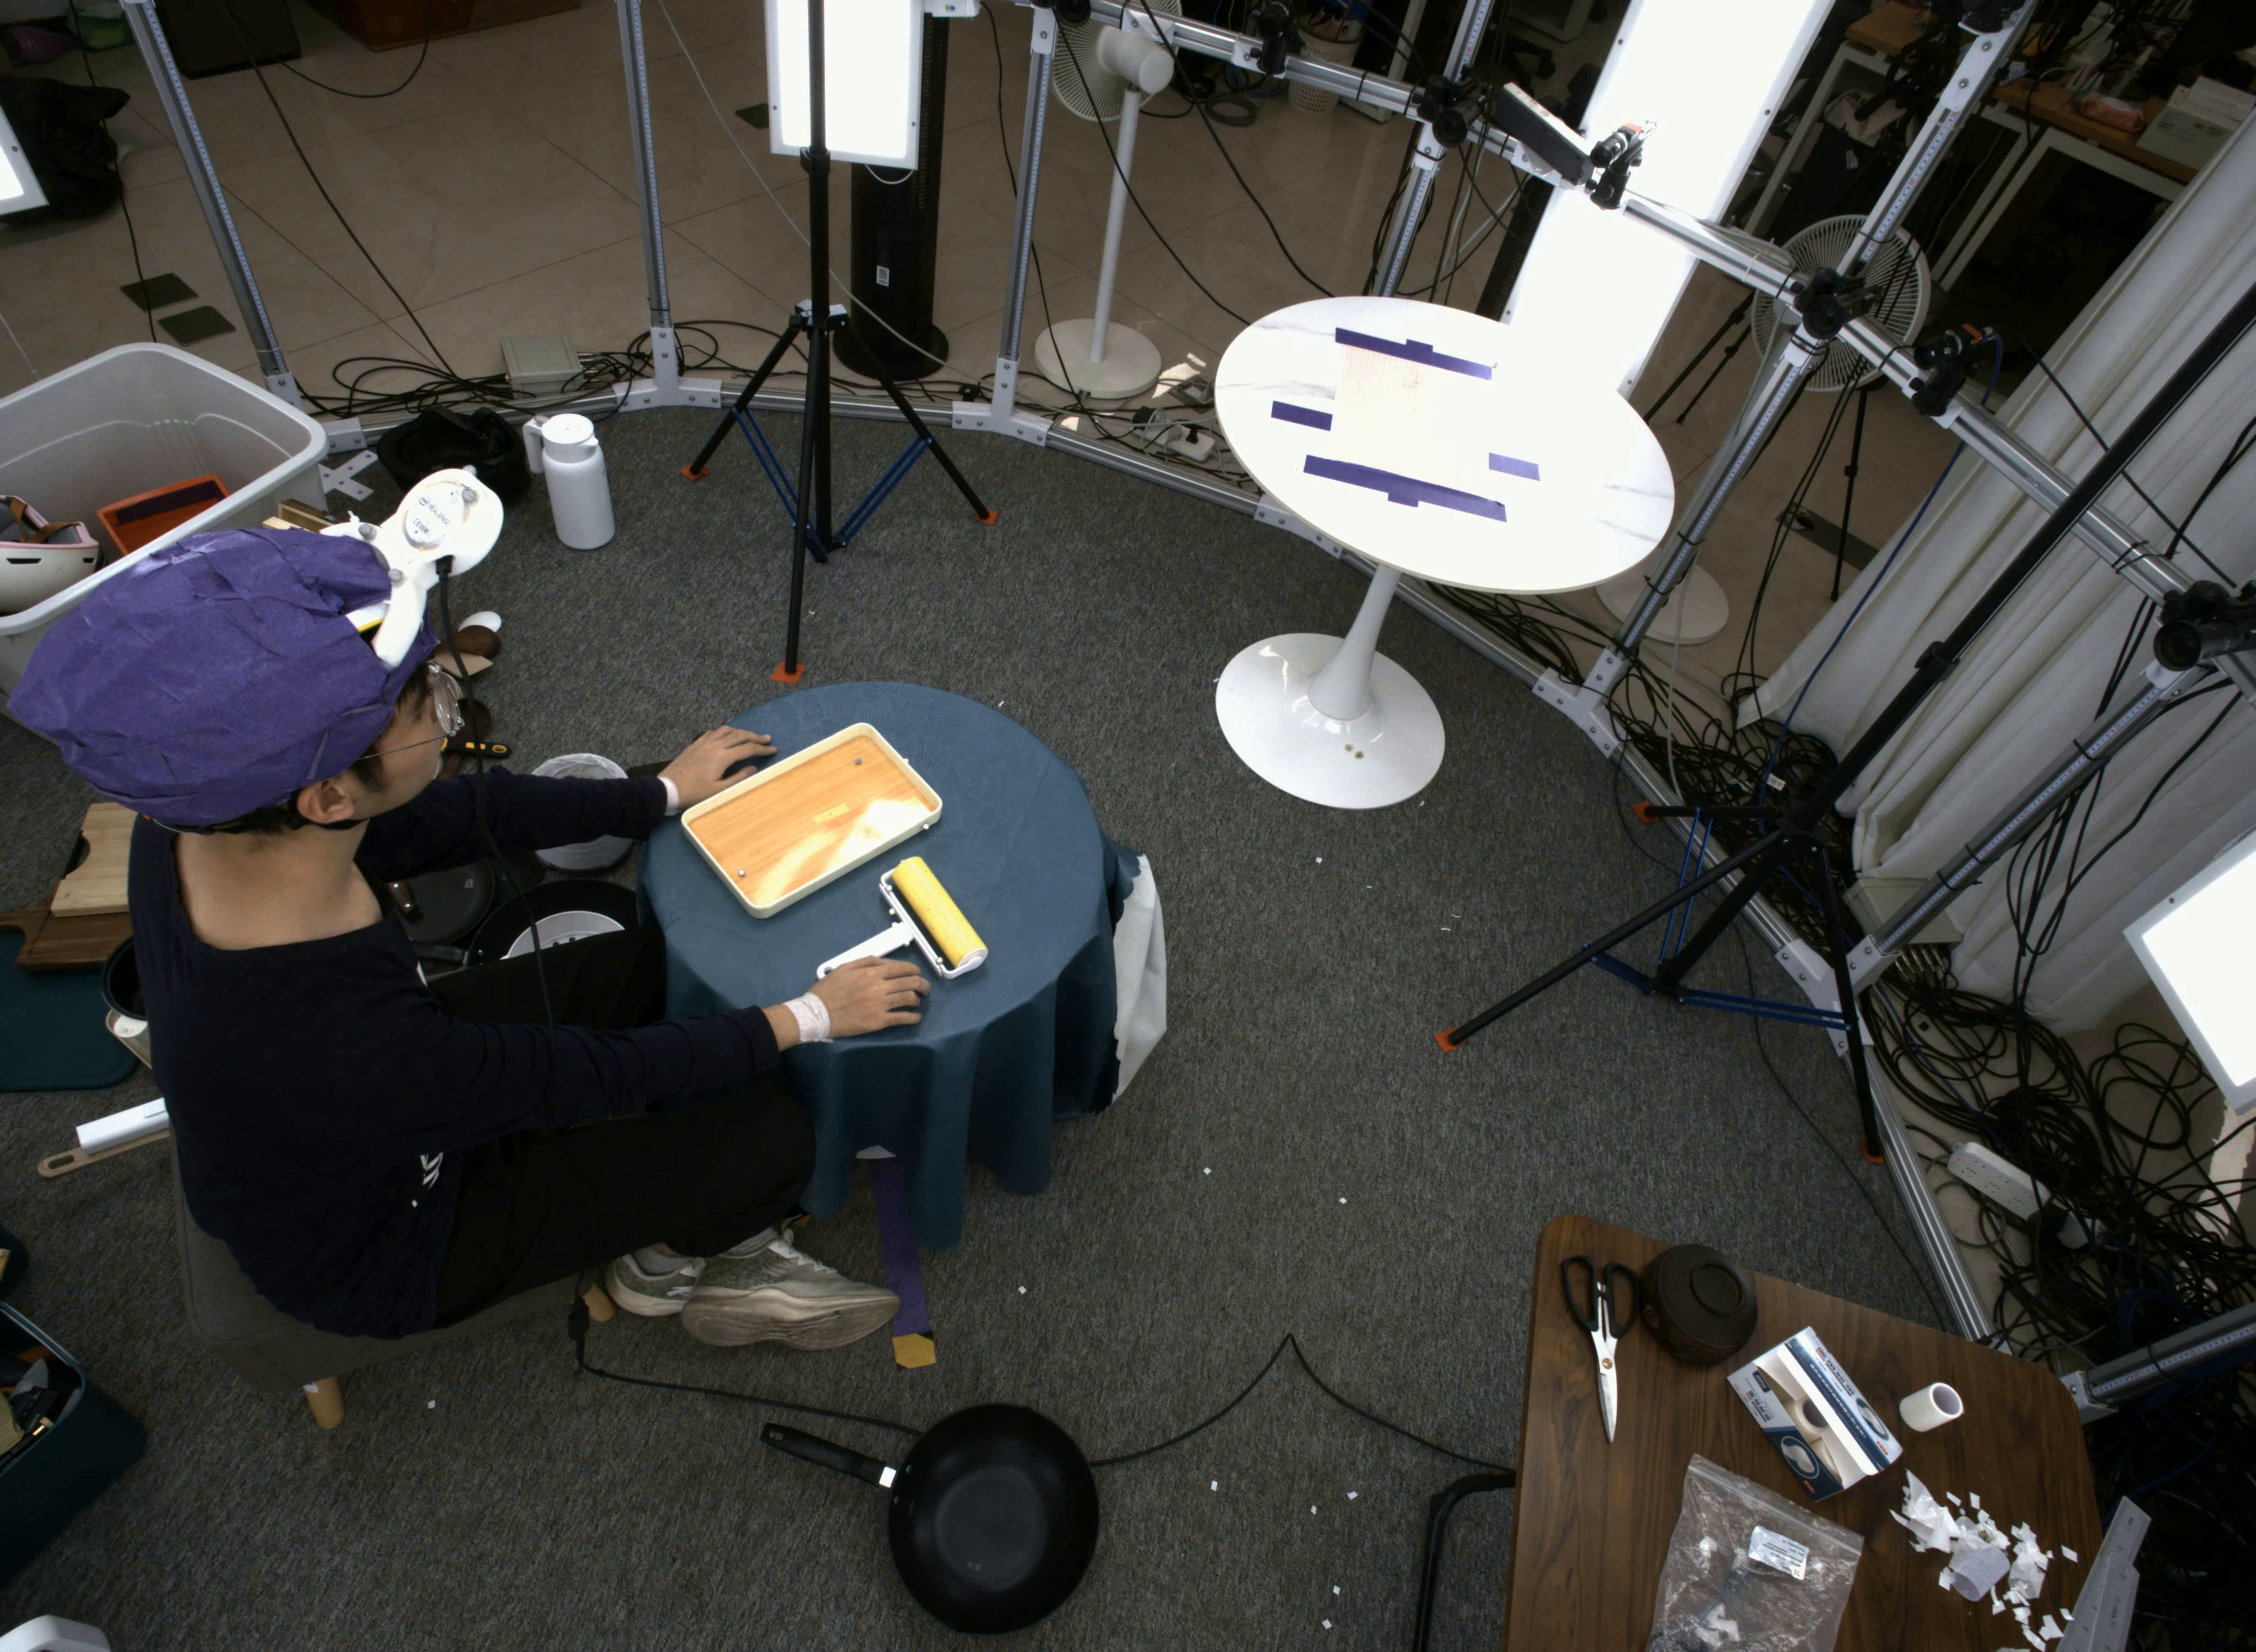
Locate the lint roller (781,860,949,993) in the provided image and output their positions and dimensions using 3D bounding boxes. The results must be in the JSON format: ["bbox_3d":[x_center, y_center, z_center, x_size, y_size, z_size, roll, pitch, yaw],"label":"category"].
[{"bbox_3d":[-0.347,0.143,1.618,0.193,0.052,0.170,-29,64,-34],"label":"lint roller"}]

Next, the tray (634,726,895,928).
[{"bbox_3d":[-0.477,-0.006,1.709,0.187,0.028,0.301,43,56,18],"label":"tray"}]
